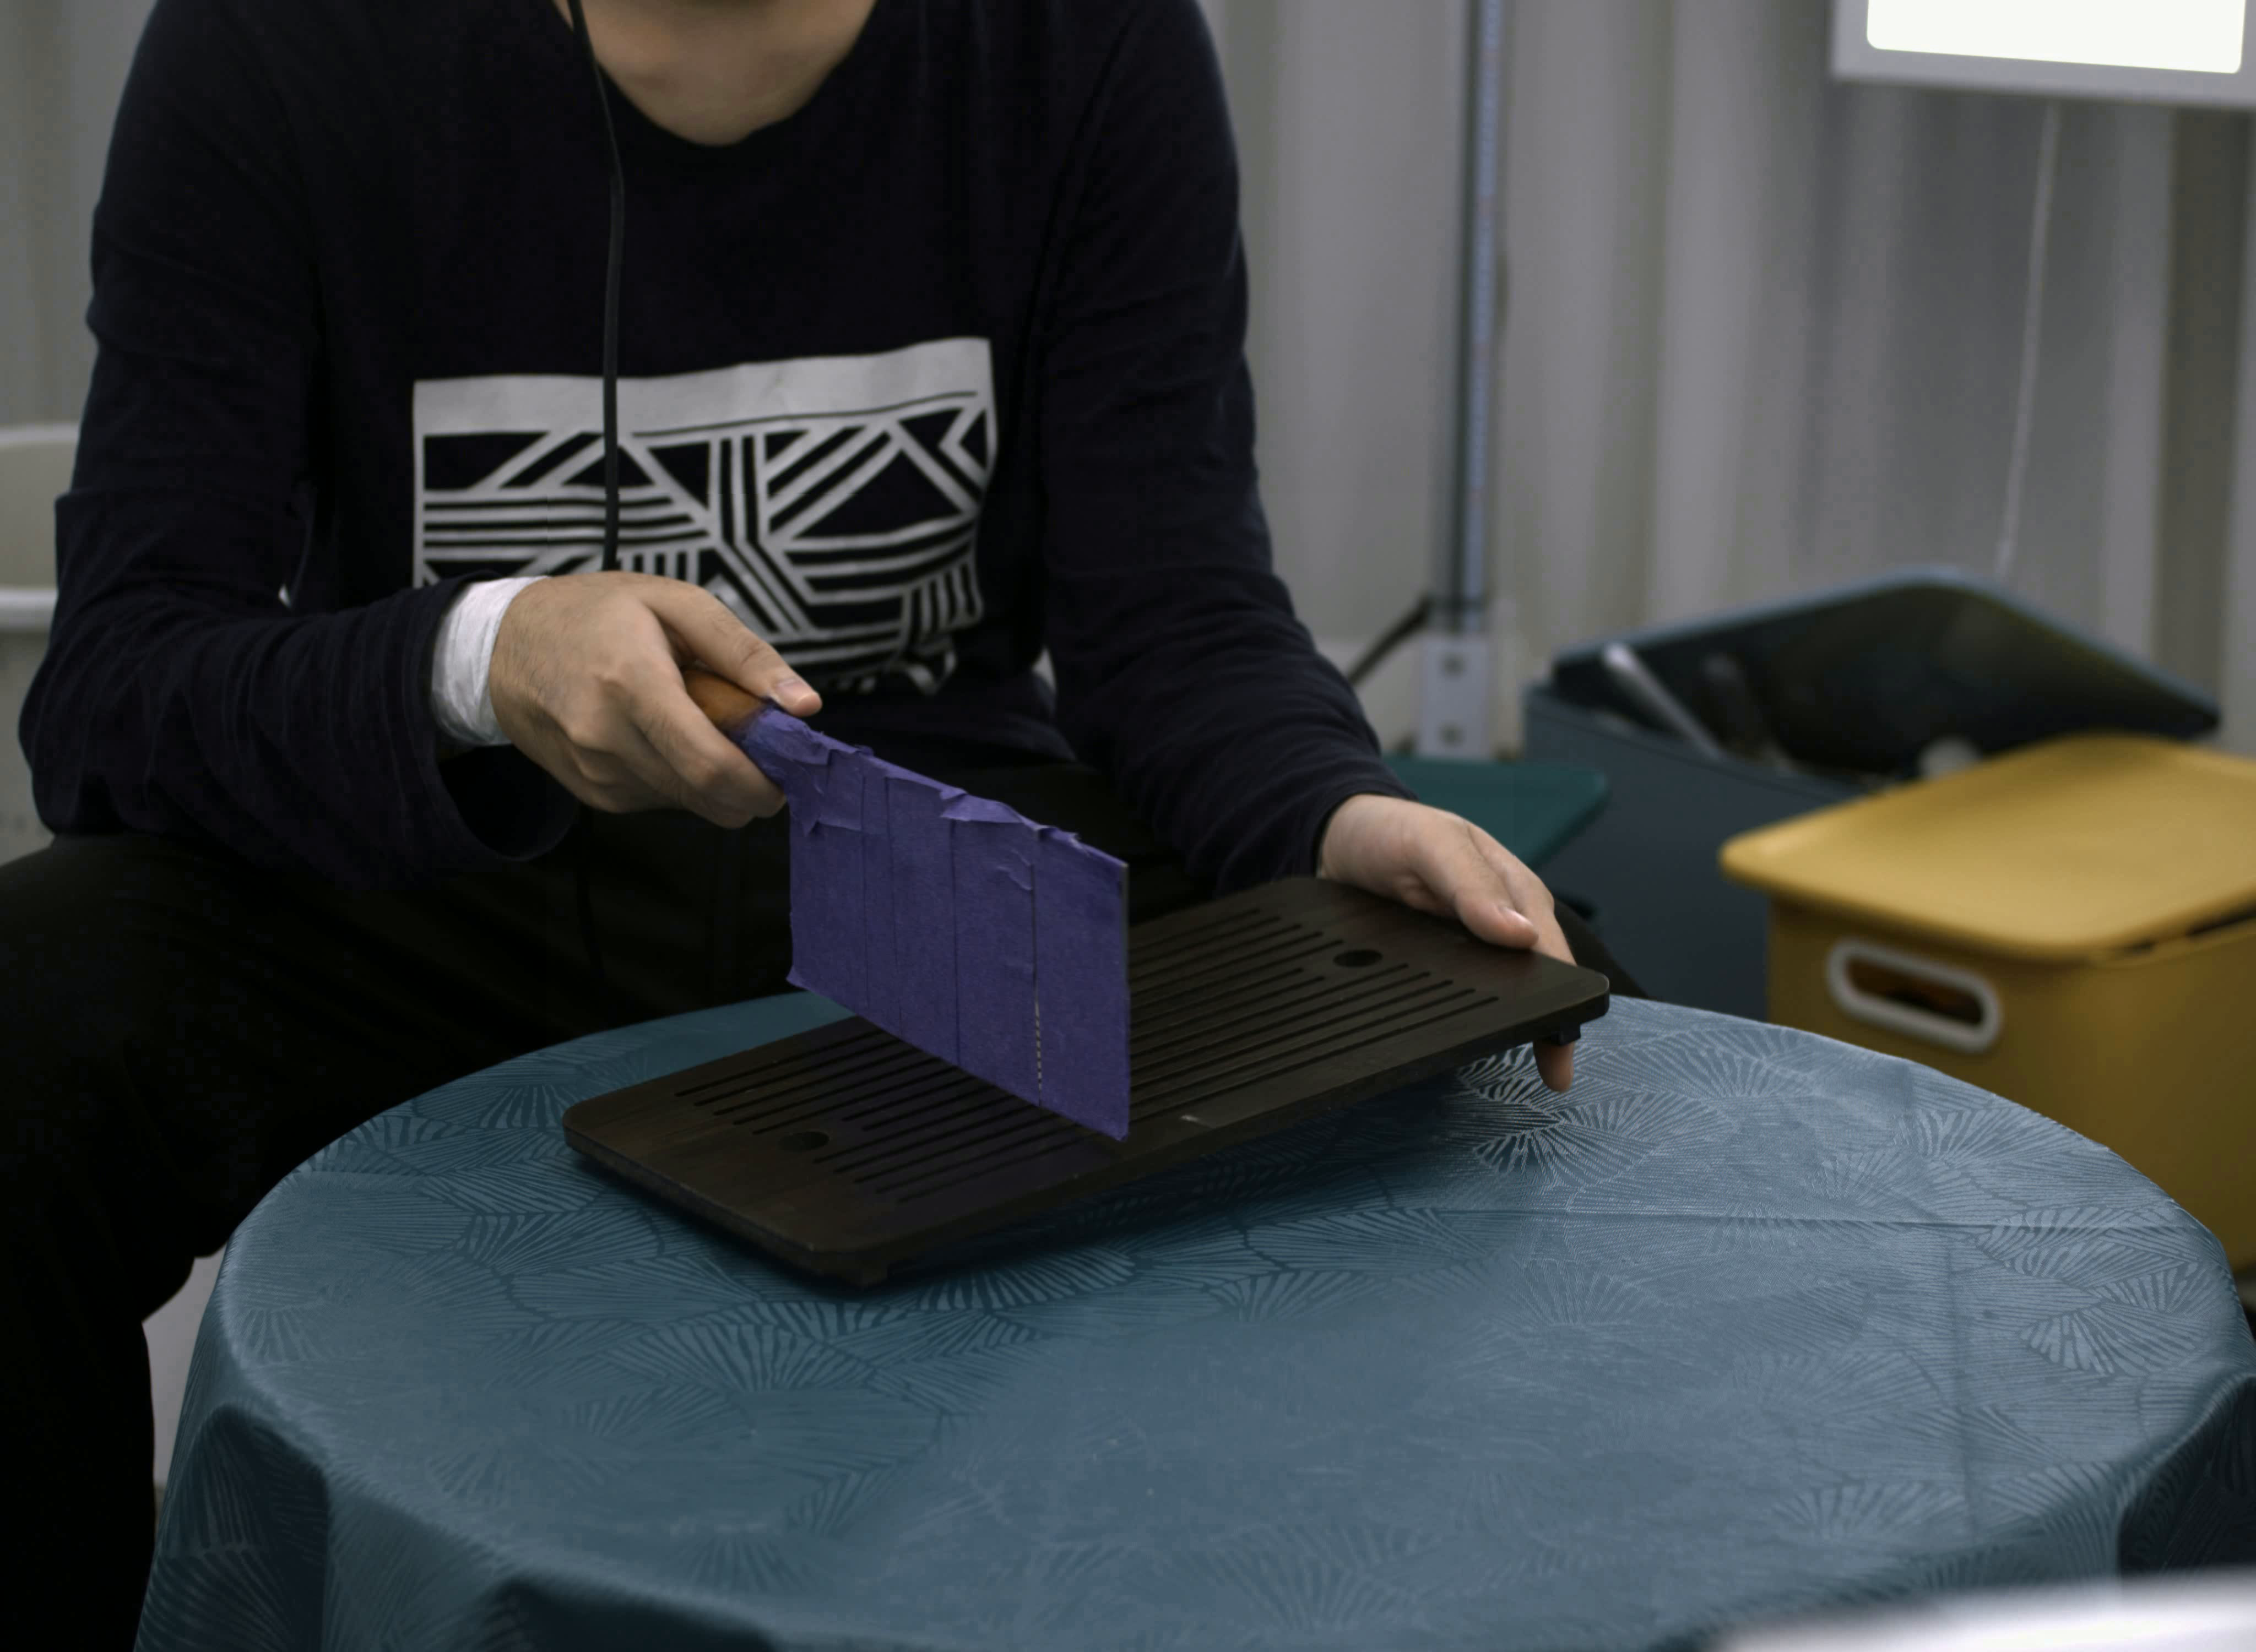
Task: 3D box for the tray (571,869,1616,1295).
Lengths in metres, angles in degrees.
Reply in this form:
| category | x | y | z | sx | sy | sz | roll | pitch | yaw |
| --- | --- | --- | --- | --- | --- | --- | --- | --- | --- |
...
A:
| category | x | y | z | sx | sy | sz | roll | pitch | yaw |
| --- | --- | --- | --- | --- | --- | --- | --- | --- | --- |
| tray | -0.008 | 0.078 | 1.662 | 0.307 | 0.019 | 0.168 | -17 | 23 | -32 |

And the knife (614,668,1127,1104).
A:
| category | x | y | z | sx | sy | sz | roll | pitch | yaw |
| --- | --- | --- | --- | --- | --- | --- | --- | --- | --- |
| knife | -0.086 | 0.018 | 1.683 | 0.032 | 0.104 | 0.311 | -8 | 15 | -29 |
